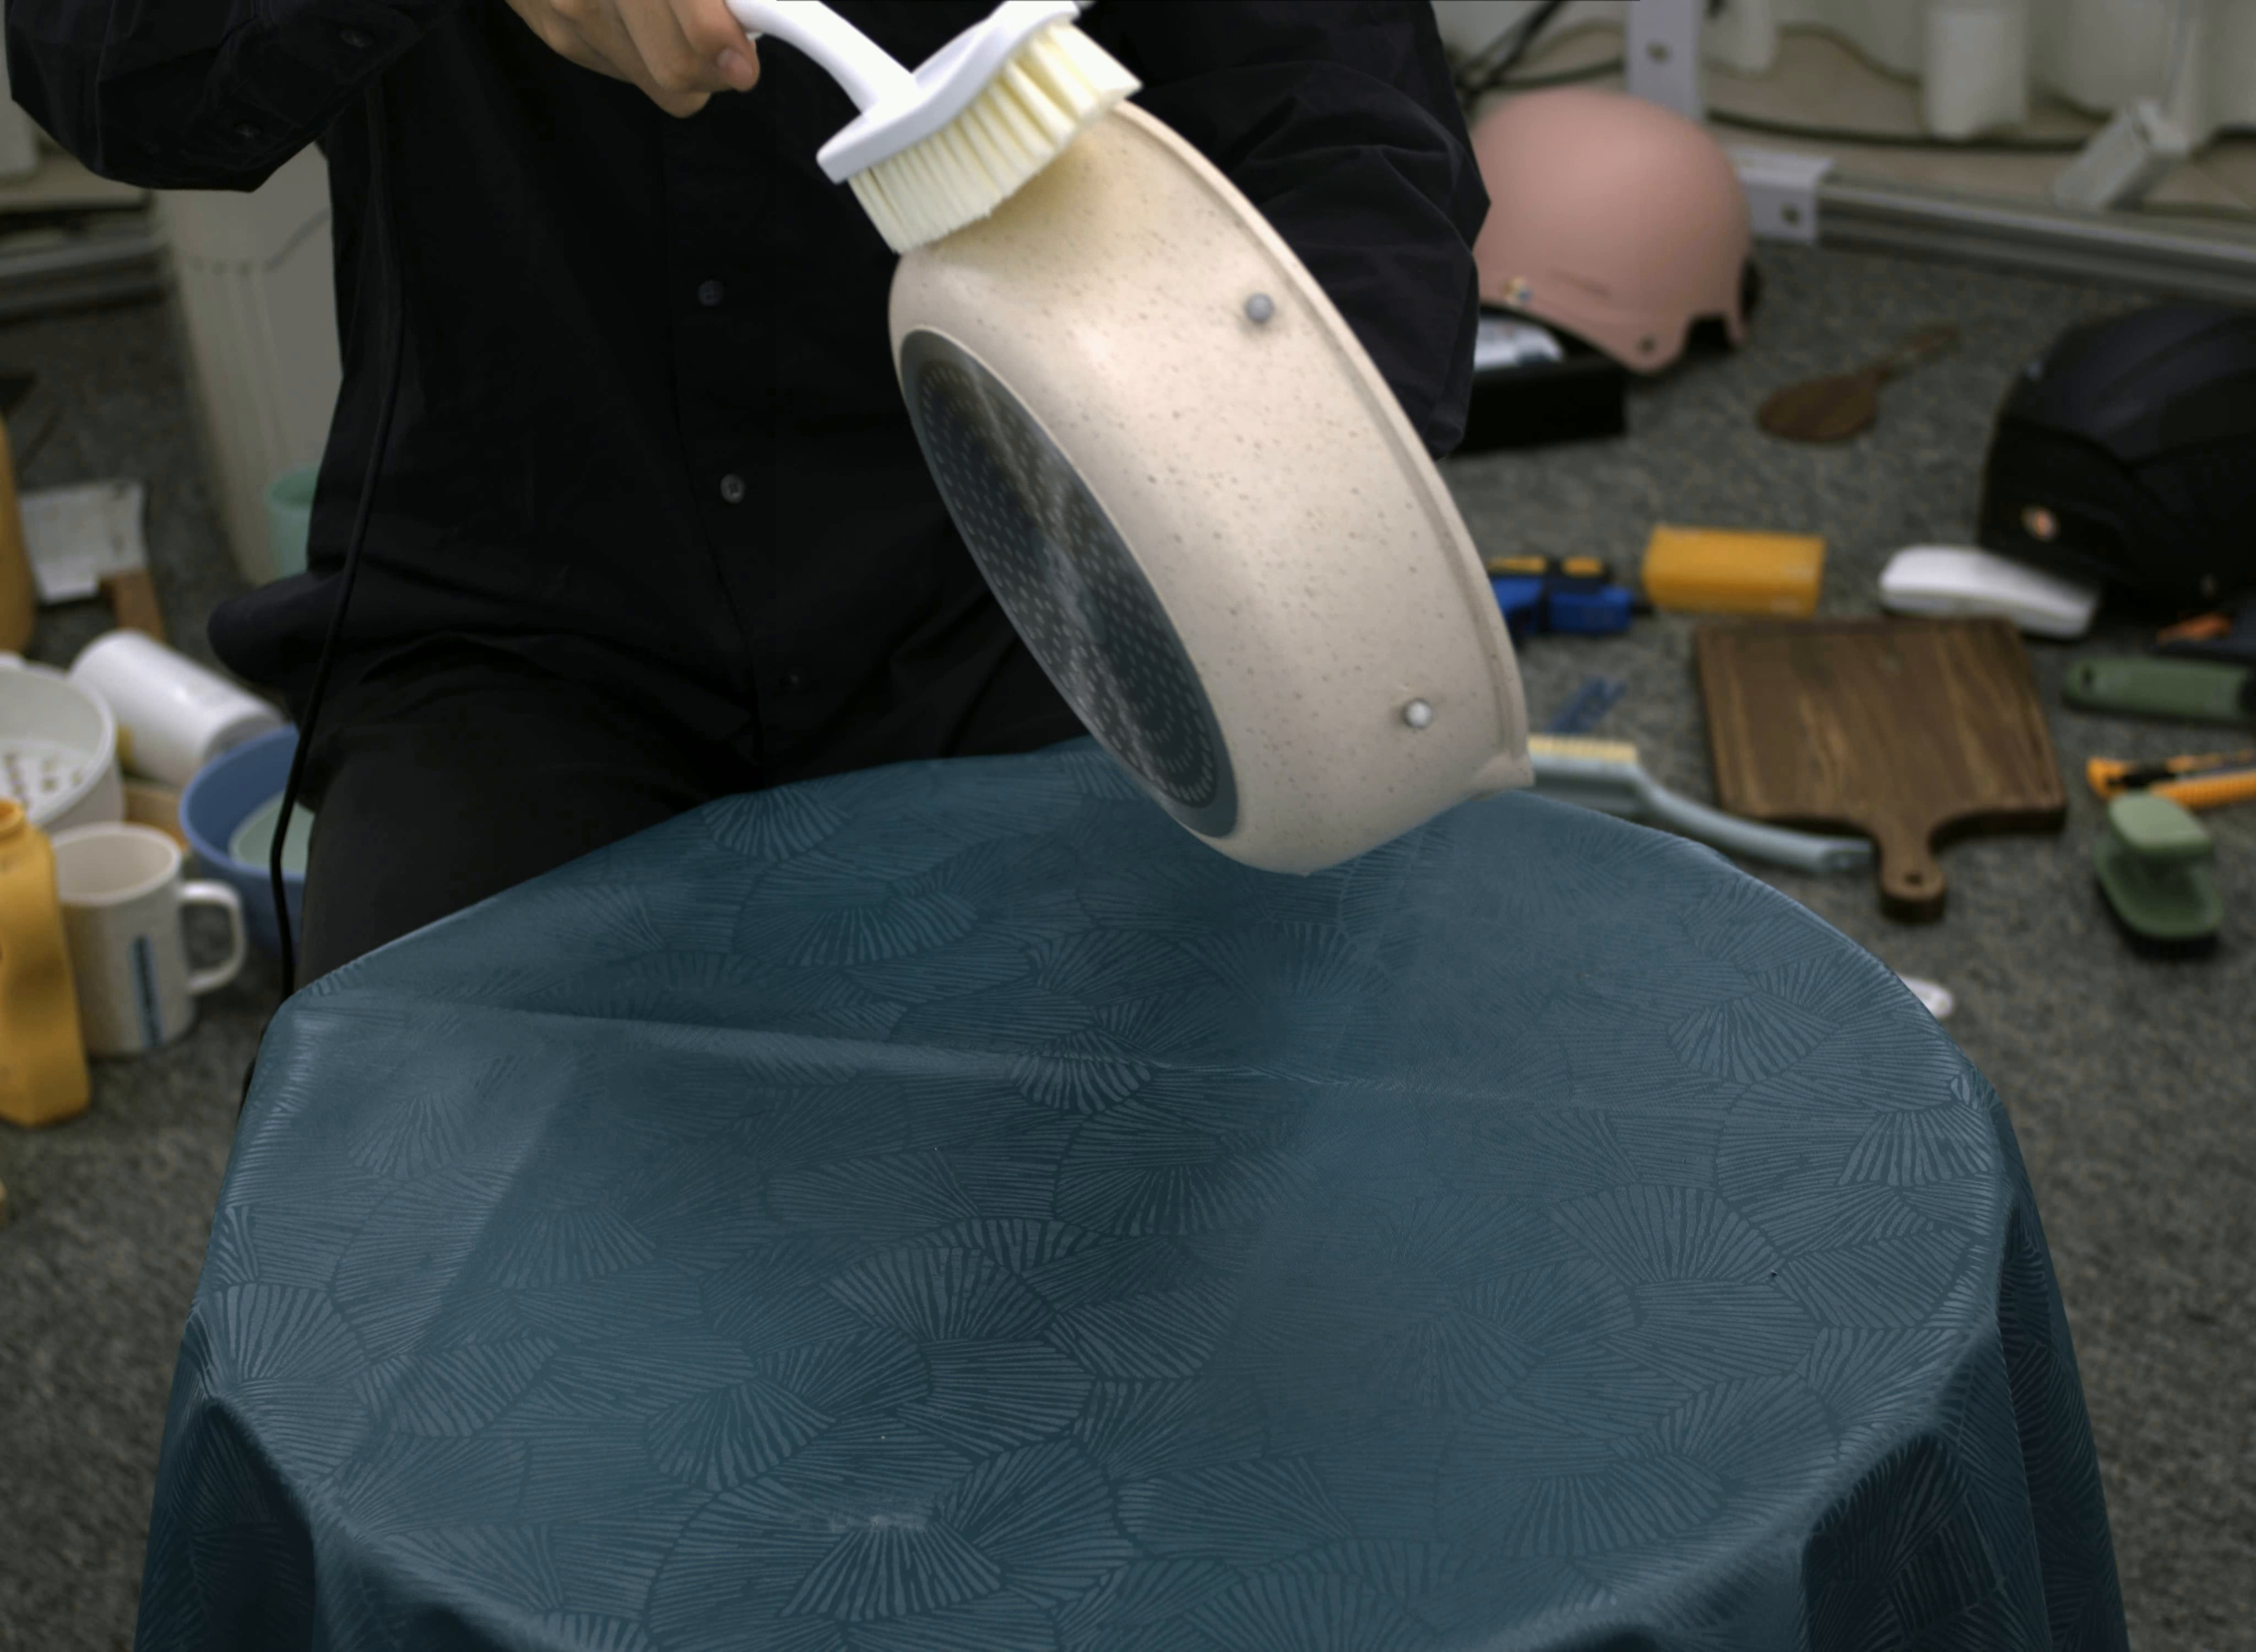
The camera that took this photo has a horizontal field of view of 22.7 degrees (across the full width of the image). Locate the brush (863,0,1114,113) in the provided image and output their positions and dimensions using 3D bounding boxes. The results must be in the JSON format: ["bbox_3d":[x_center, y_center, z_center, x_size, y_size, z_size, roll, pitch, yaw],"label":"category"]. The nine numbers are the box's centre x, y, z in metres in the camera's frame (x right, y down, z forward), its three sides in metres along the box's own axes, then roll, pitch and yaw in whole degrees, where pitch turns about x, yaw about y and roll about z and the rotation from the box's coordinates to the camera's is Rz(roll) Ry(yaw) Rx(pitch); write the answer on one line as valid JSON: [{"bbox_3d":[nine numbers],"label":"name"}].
[{"bbox_3d":[-0.068,-0.263,1.740,0.083,0.084,0.324,-1,8,-28],"label":"brush"}]

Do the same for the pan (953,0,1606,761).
[{"bbox_3d":[0.037,-0.105,1.821,0.102,0.430,0.265,-35,77,-13],"label":"pan"}]
